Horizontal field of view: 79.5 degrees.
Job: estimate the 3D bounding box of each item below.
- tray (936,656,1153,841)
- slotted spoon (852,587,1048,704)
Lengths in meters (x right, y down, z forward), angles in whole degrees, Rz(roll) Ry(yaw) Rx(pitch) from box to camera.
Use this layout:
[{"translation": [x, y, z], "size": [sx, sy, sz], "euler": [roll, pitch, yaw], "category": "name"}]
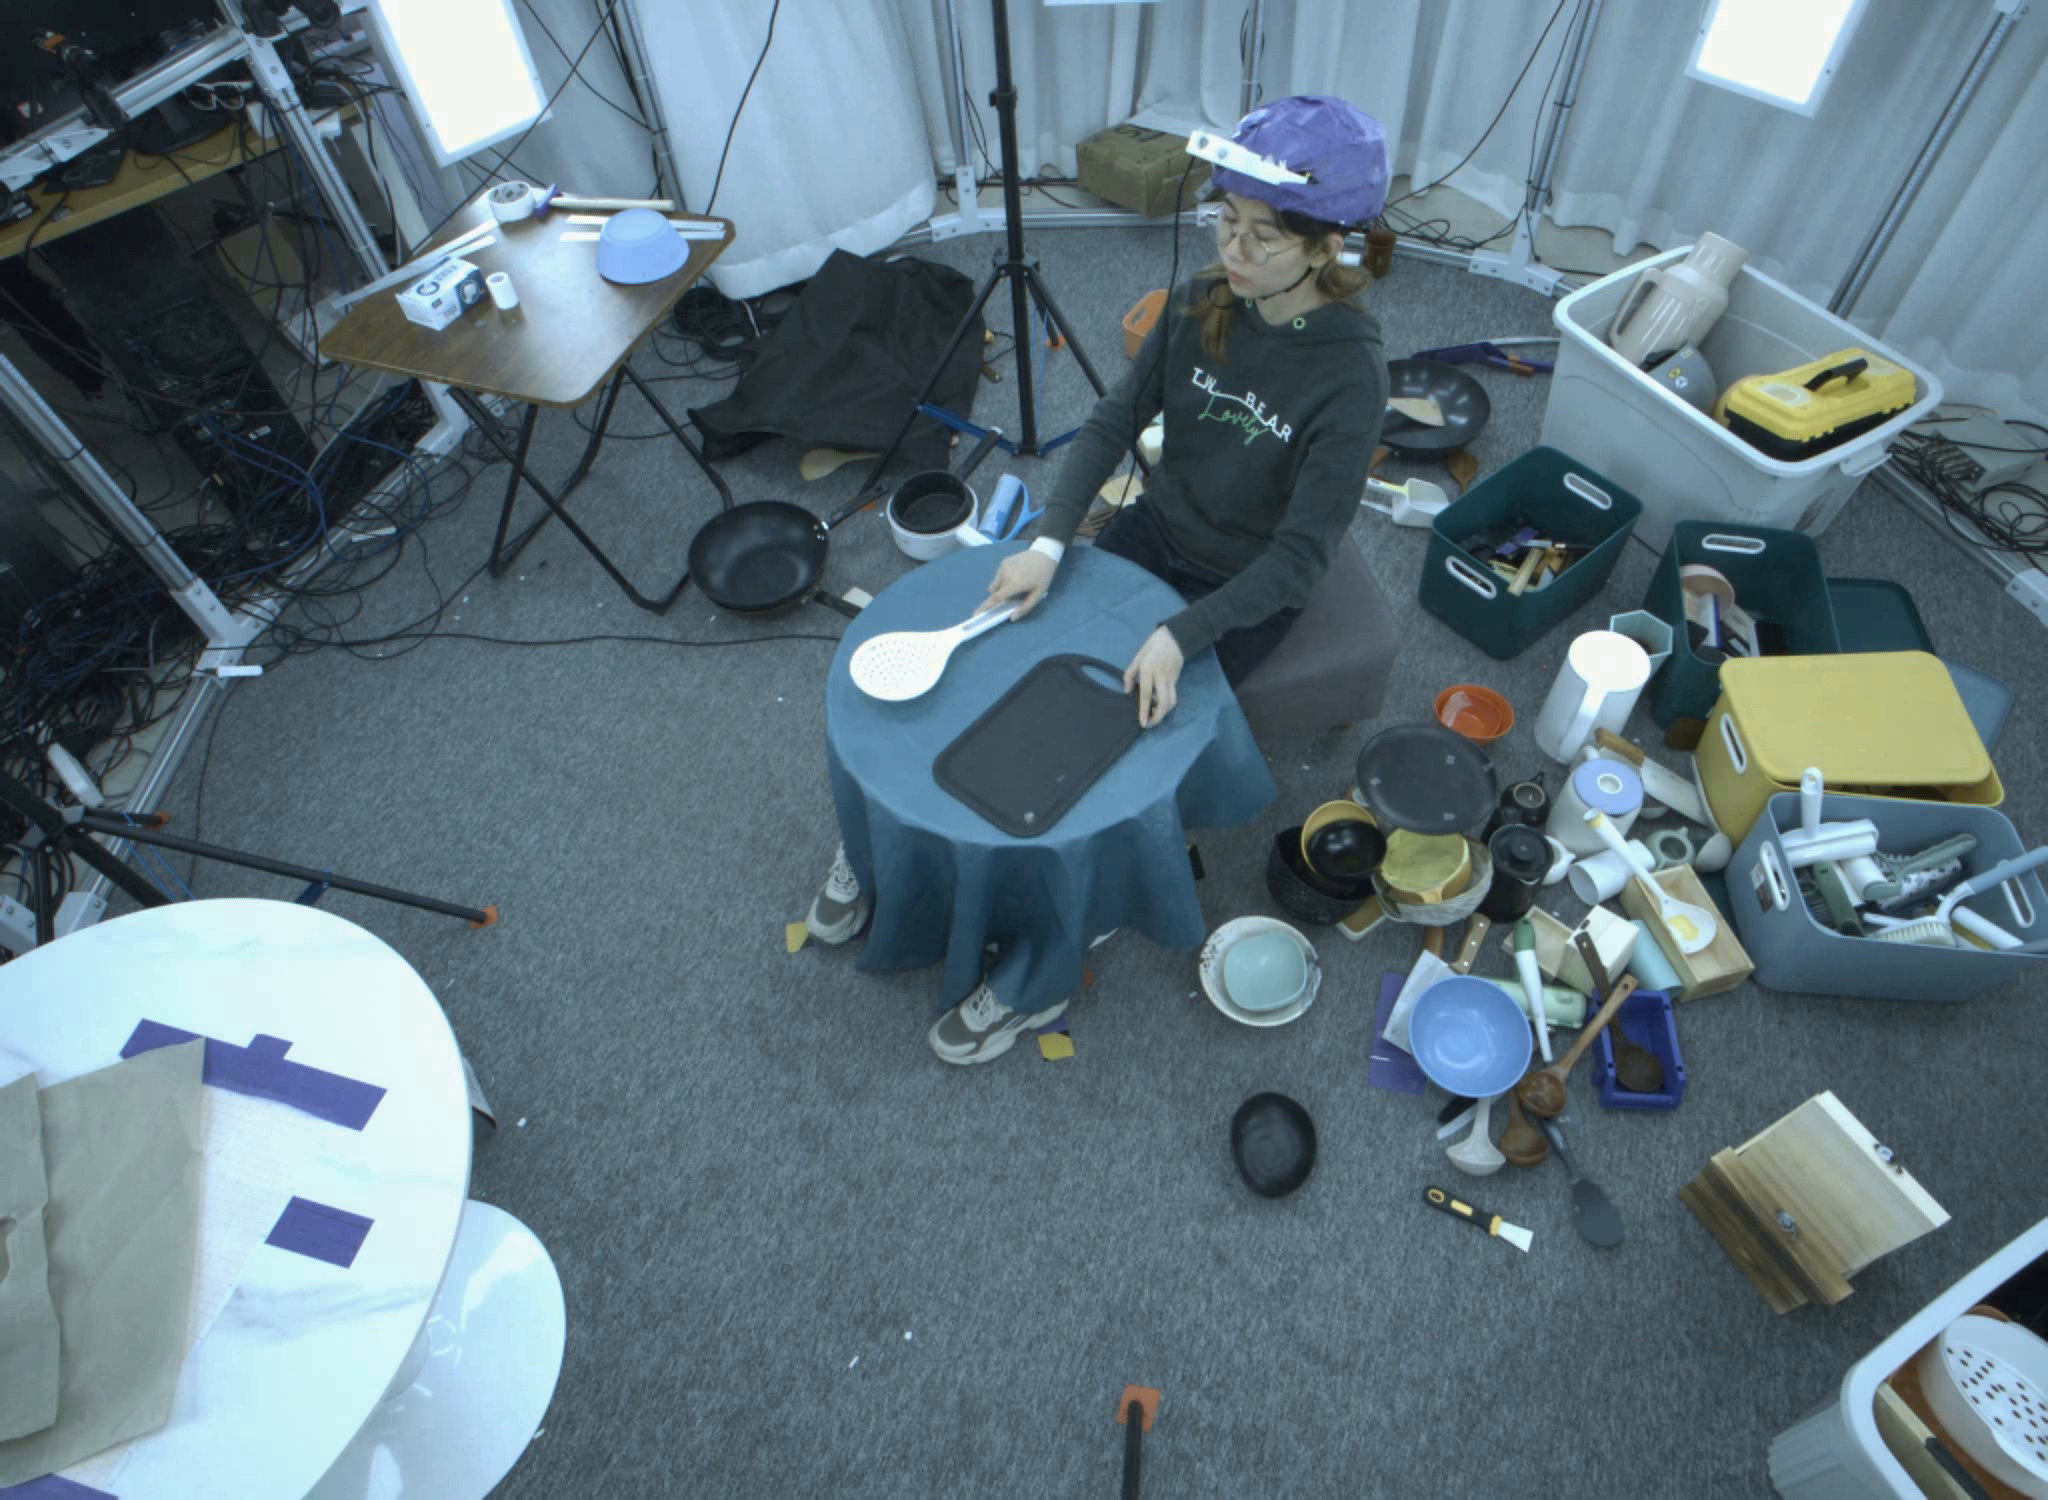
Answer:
[{"translation": [0.036, -0.016, 1.801], "size": [0.207, 0.010, 0.327], "euler": [34, 63, 24], "category": "tray"}, {"translation": [-0.106, -0.170, 1.892], "size": [0.352, 0.046, 0.133], "euler": [-34, 62, -21], "category": "slotted spoon"}]
